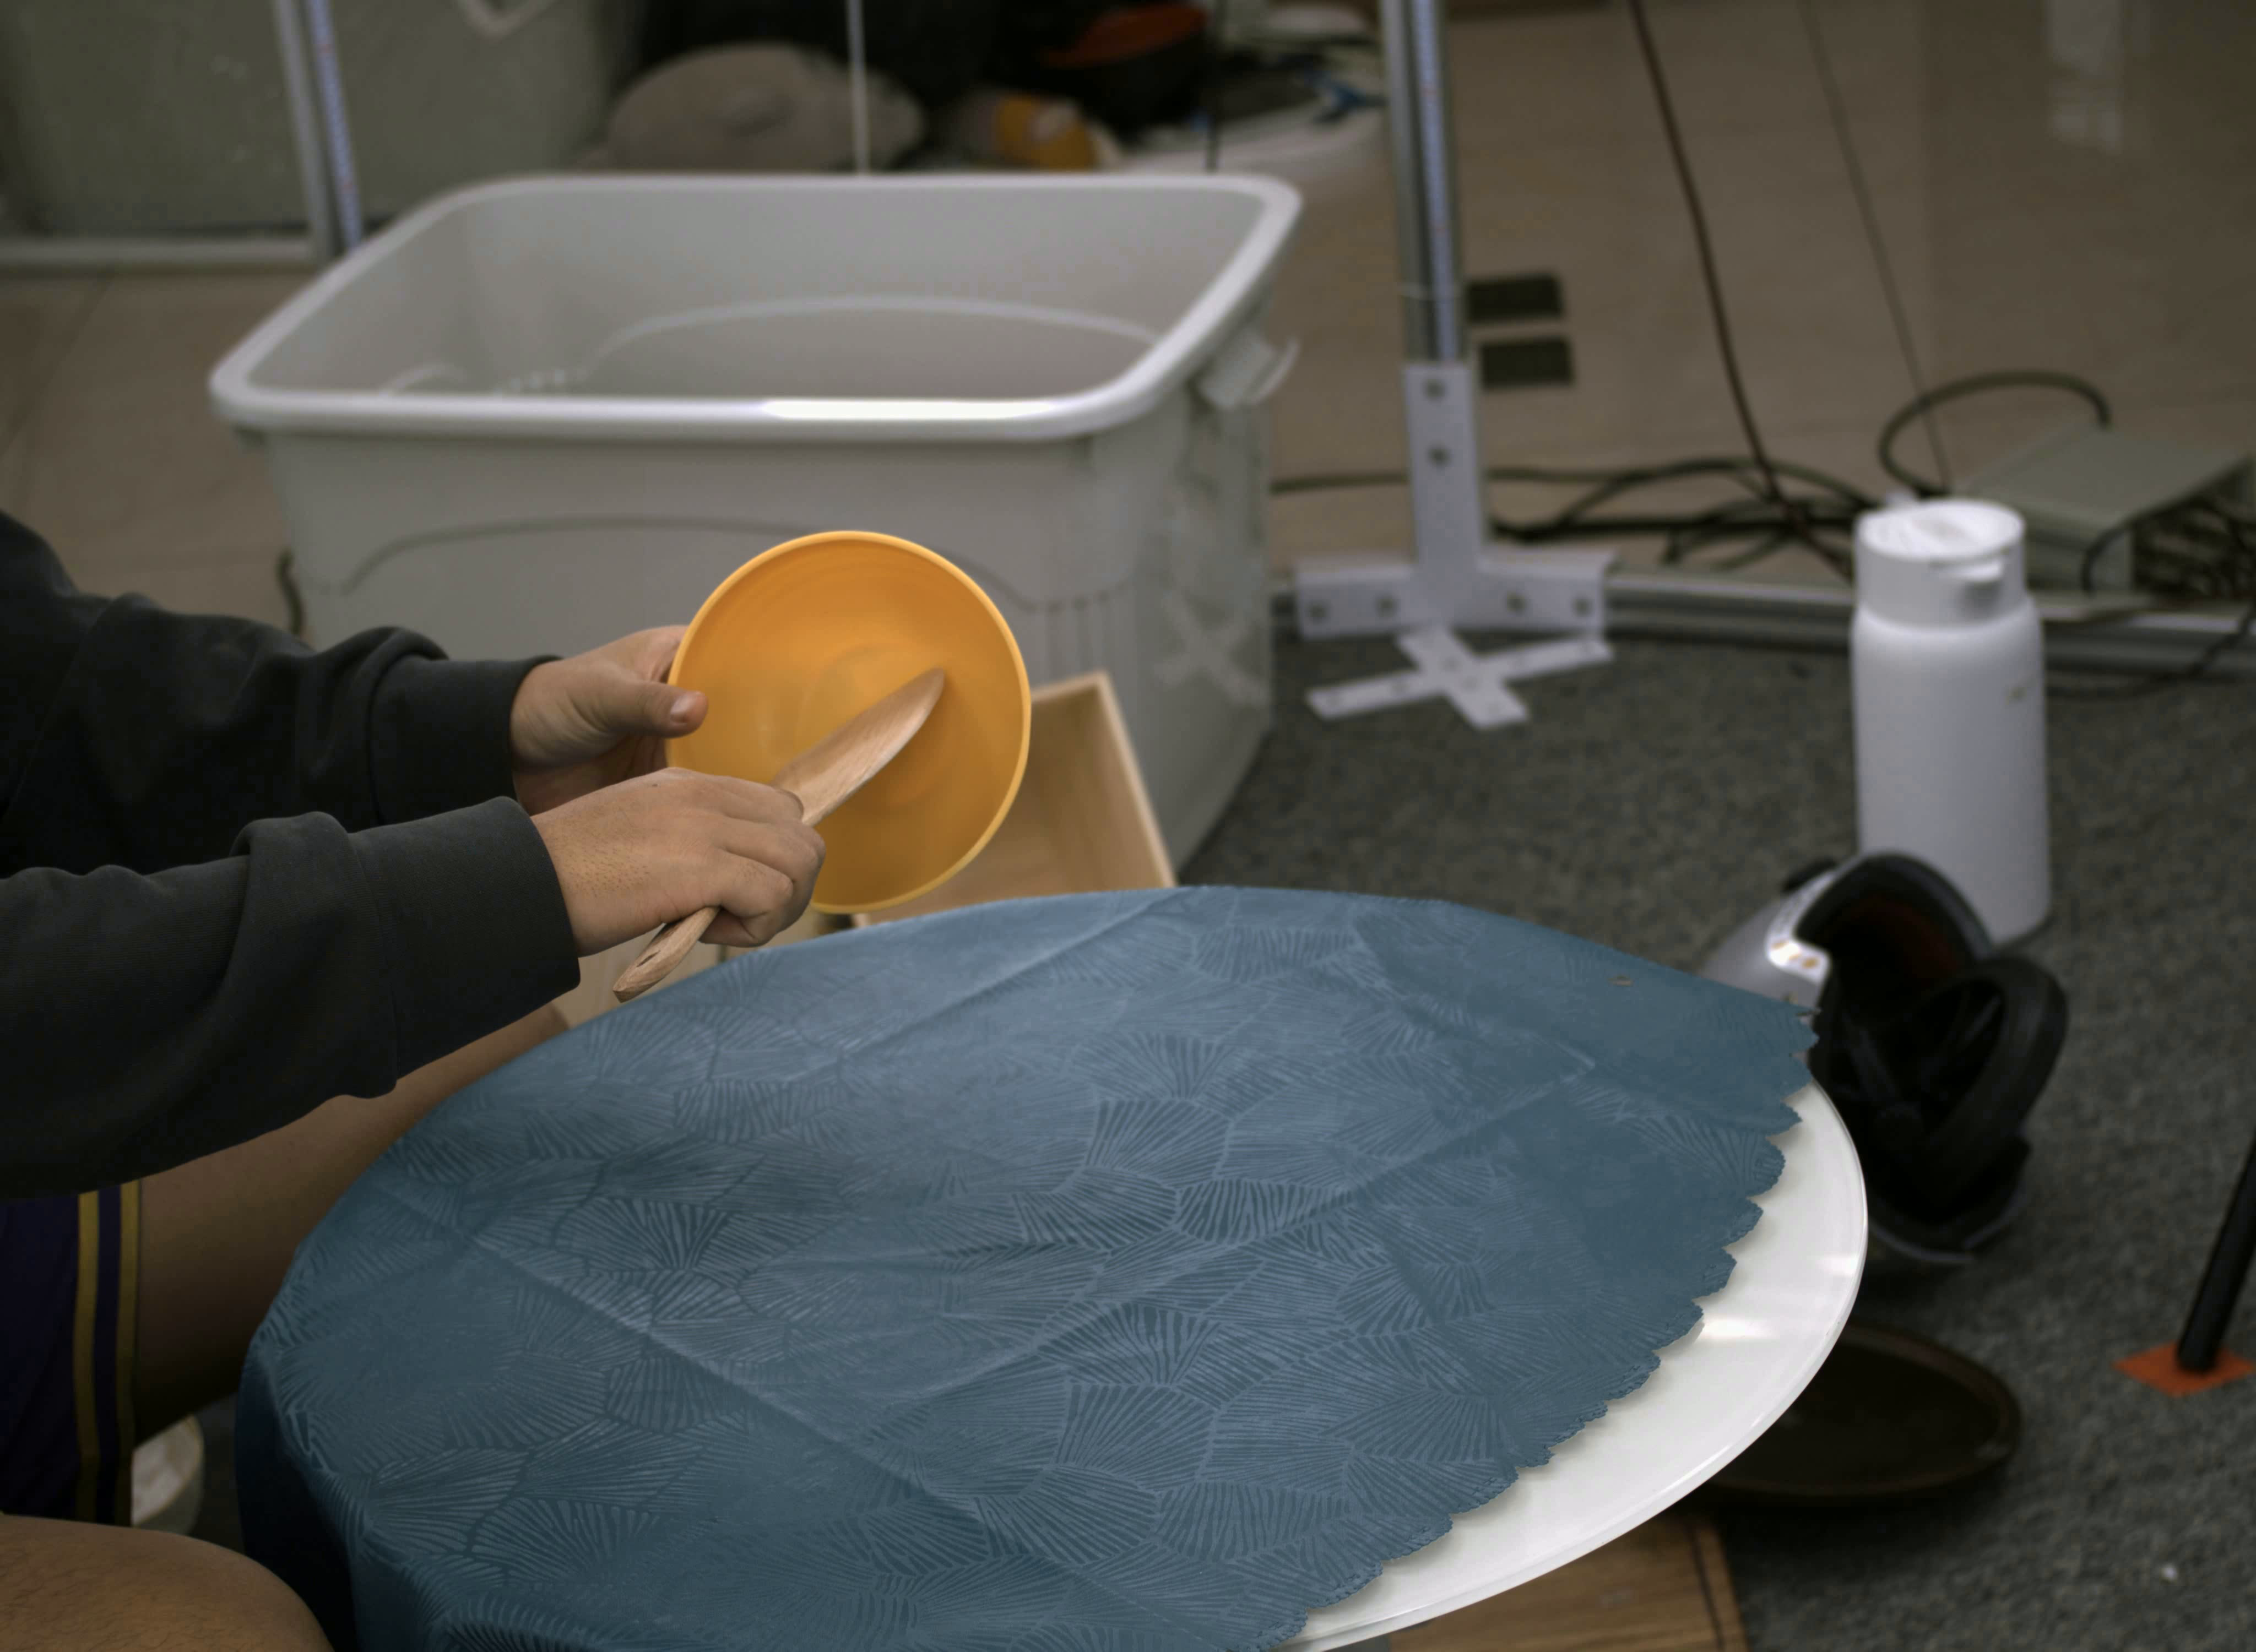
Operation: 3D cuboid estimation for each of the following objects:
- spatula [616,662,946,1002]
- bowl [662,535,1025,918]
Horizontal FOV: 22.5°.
[{"bbox_3d":[-0.131,0.005,2.031,0.080,0.016,0.324,-30,8,19],"label":"spatula"},{"bbox_3d":[-0.101,-0.037,2.160,0.145,0.145,0.060,1,1,15],"label":"bowl"}]
